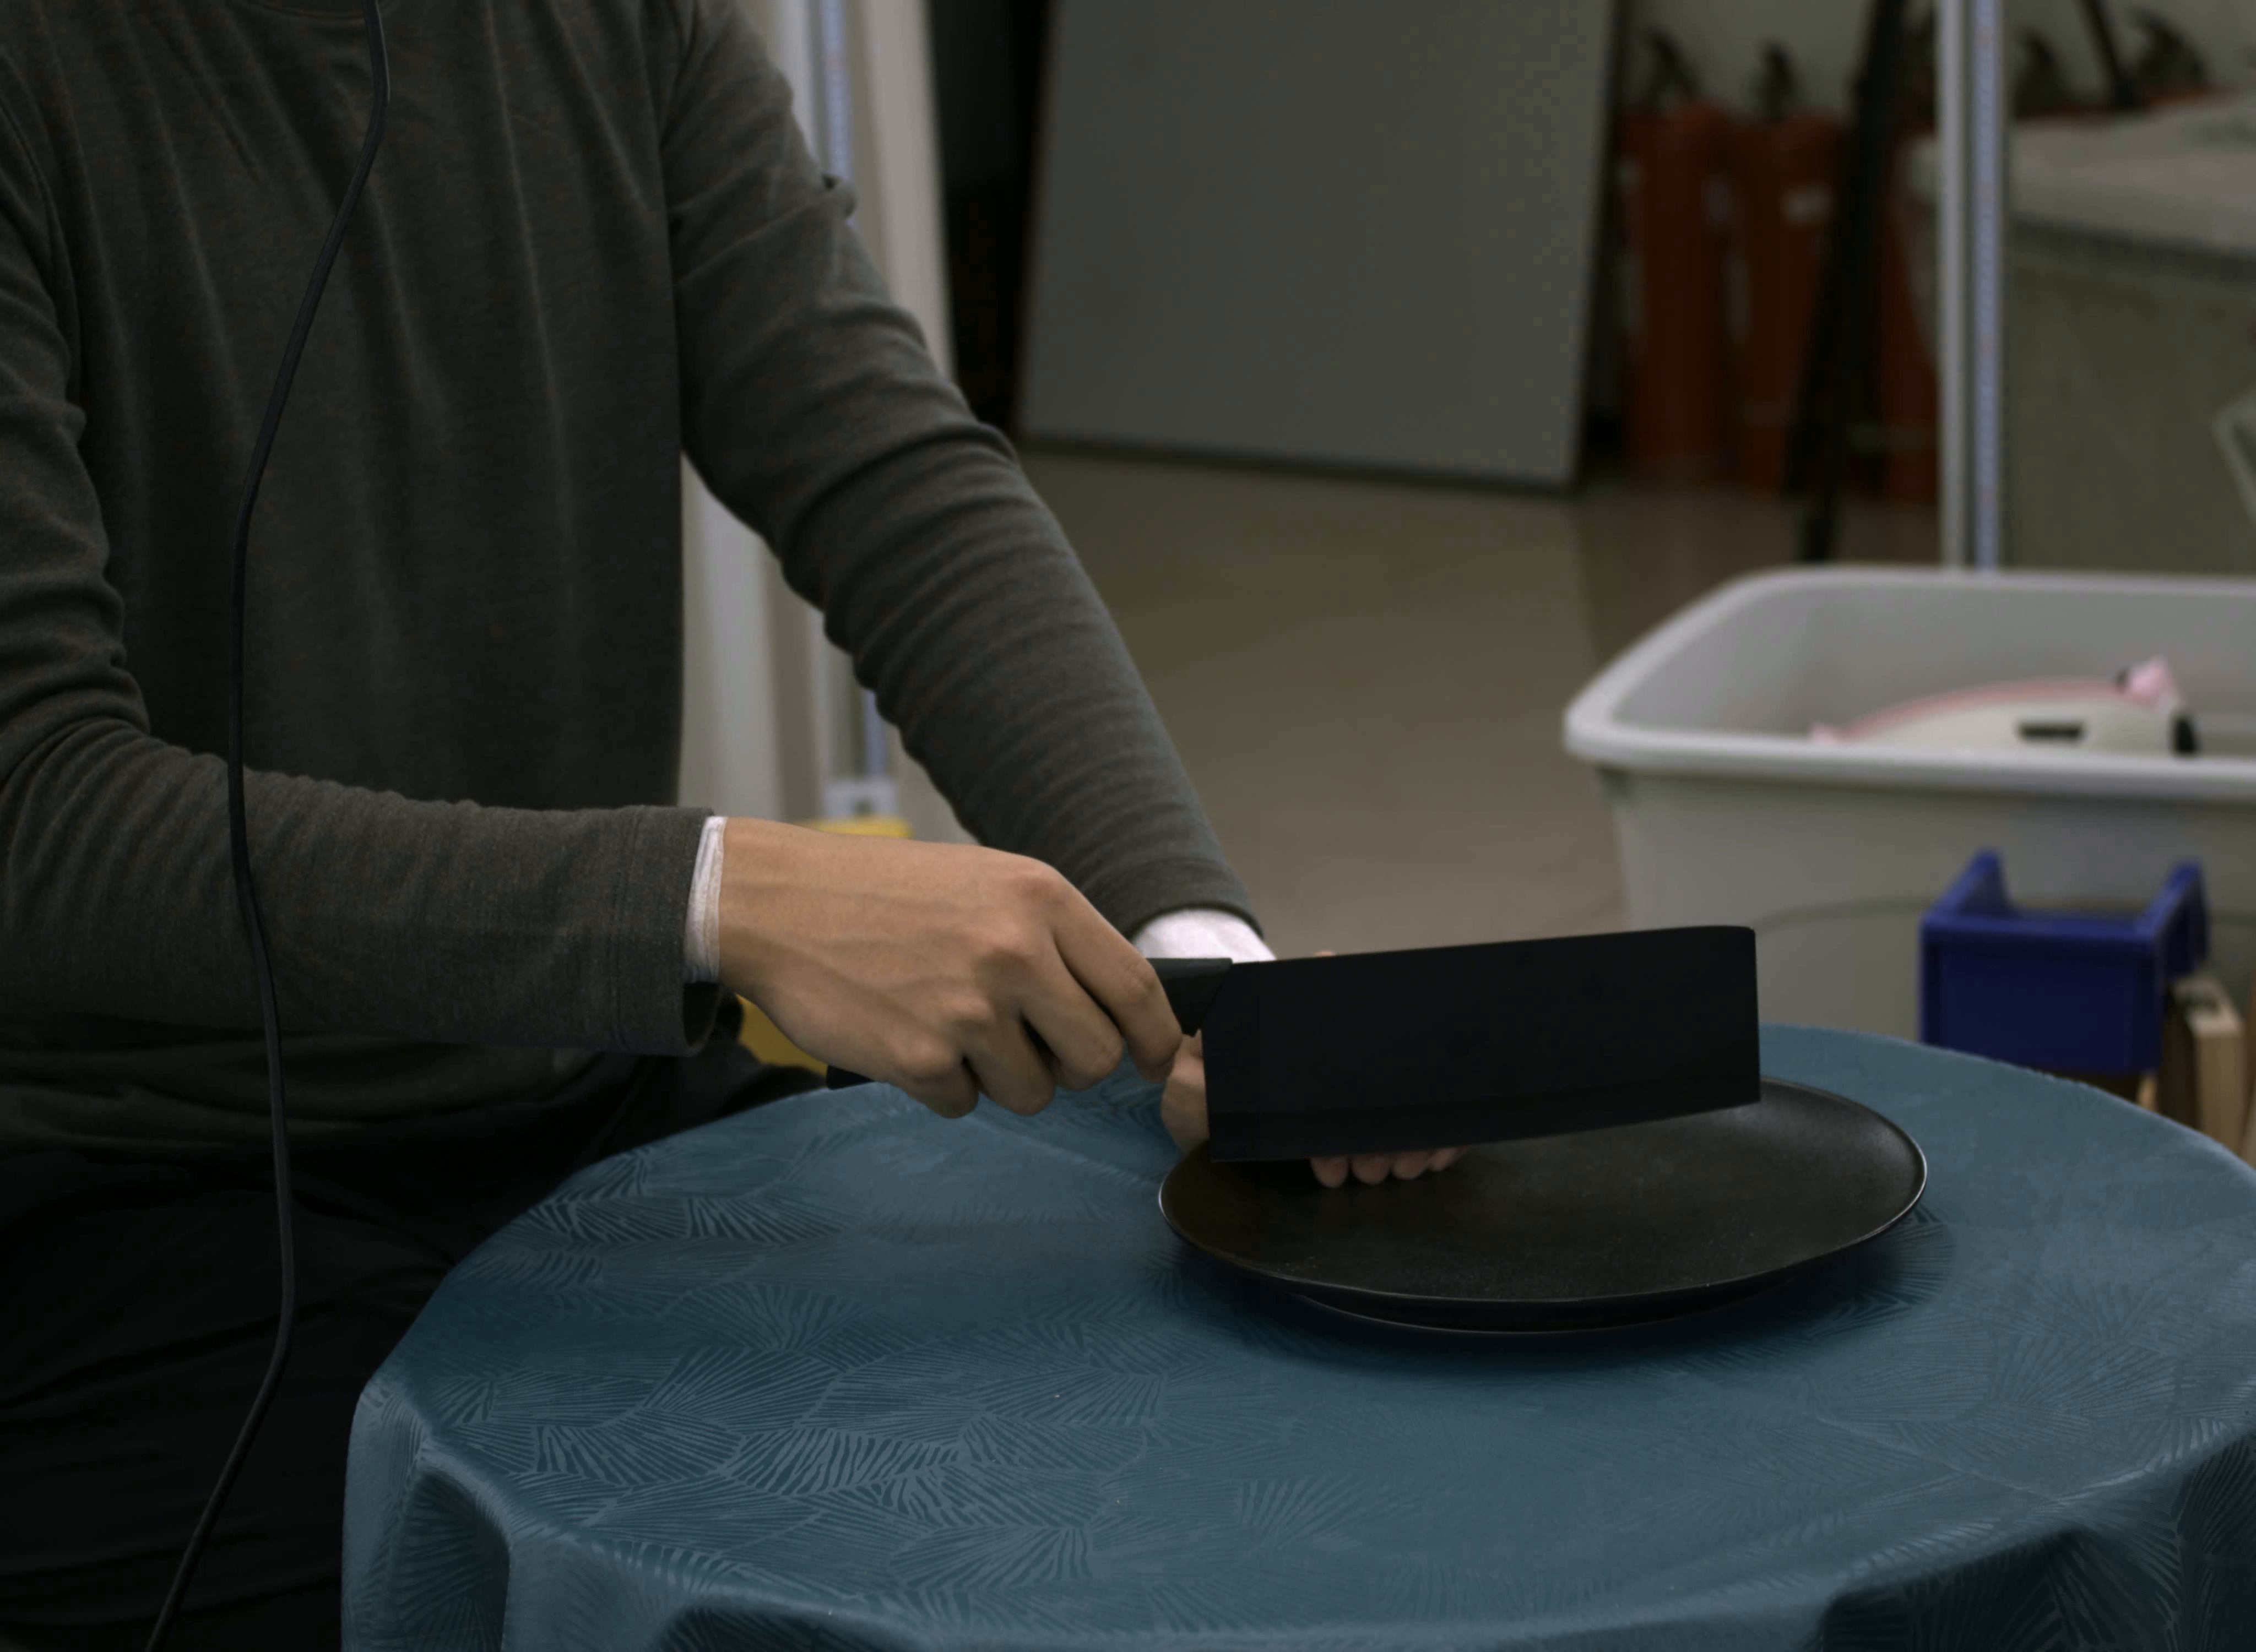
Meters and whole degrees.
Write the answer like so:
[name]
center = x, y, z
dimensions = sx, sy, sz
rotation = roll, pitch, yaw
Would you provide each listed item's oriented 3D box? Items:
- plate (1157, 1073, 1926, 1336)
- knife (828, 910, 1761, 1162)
[plate]
center = 0.130, 0.120, 1.693
dimensions = 0.241, 0.024, 0.245
rotation = -4, 13, 0
[knife]
center = 0.054, 0.068, 1.713
dimensions = 0.298, 0.082, 0.021
rotation = -1, 9, -2
